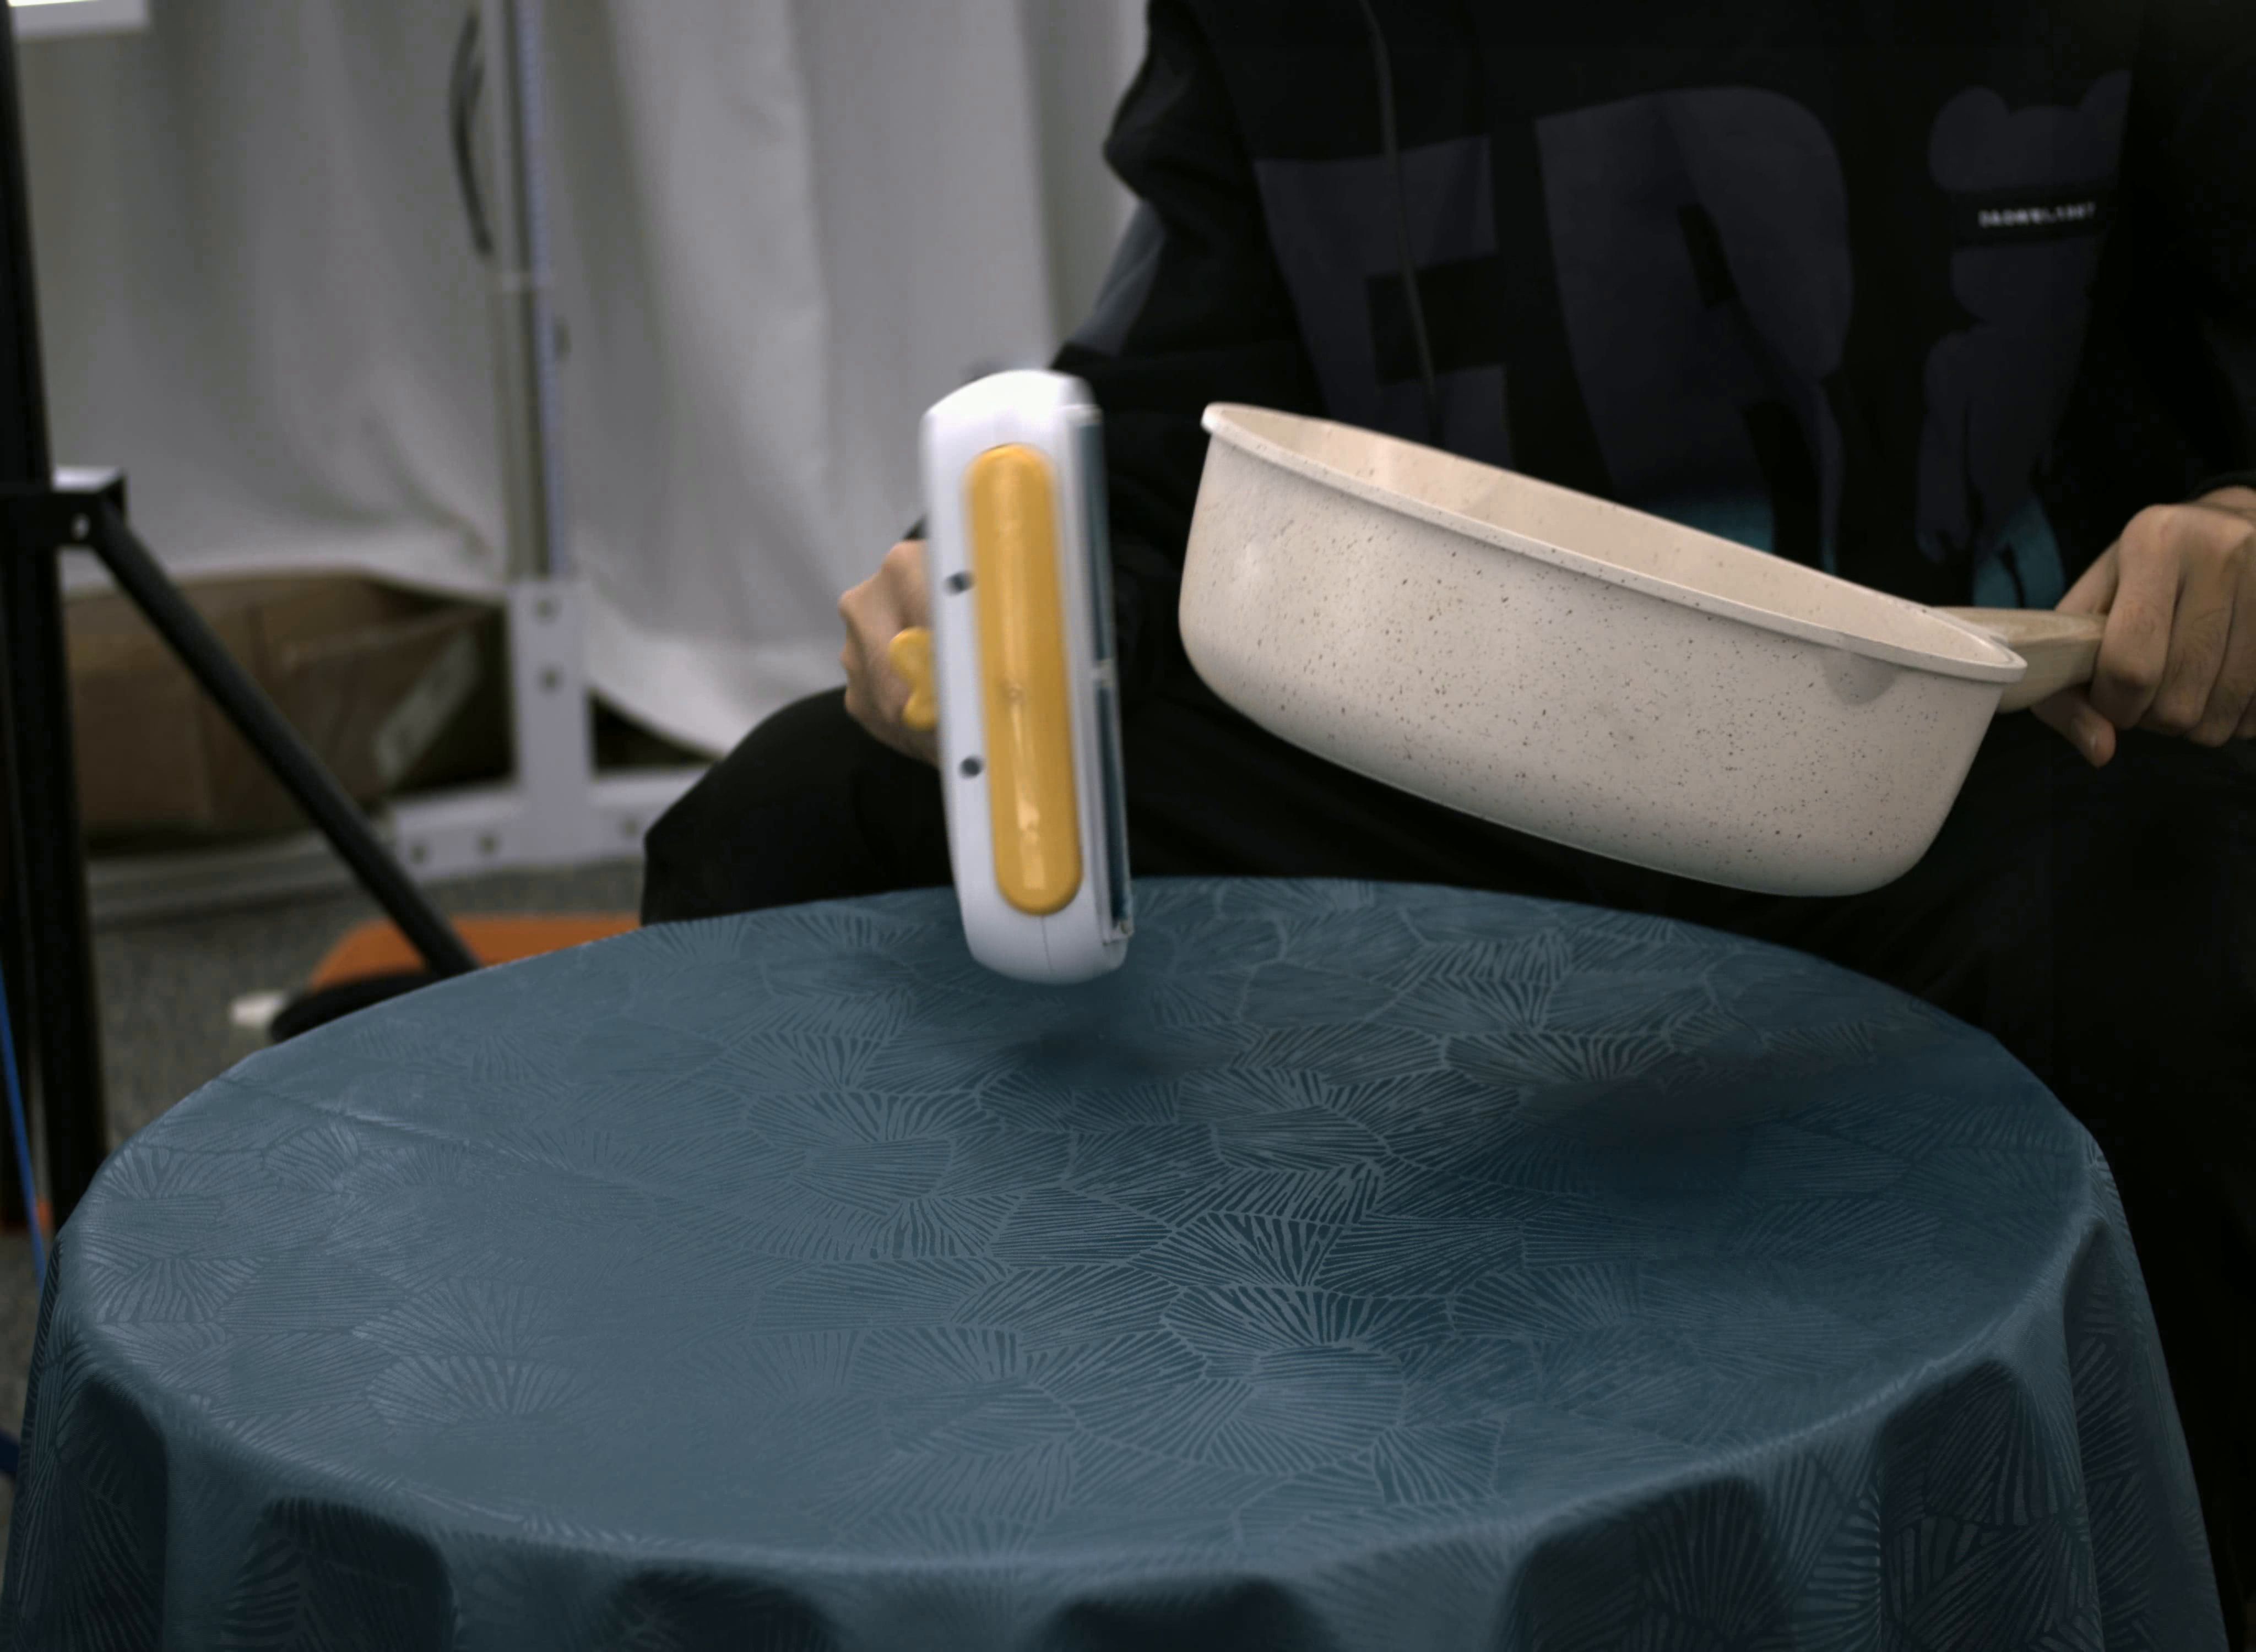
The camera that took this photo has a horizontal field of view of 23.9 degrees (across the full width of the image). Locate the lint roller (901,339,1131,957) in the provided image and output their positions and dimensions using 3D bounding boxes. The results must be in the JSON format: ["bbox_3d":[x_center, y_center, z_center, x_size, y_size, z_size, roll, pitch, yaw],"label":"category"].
[{"bbox_3d":[-0.033,-0.052,1.734,0.074,0.194,0.192,-6,-3,1],"label":"lint roller"}]

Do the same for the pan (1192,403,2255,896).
[{"bbox_3d":[0.210,-0.039,1.601,0.423,0.102,0.269,12,8,-34],"label":"pan"}]
